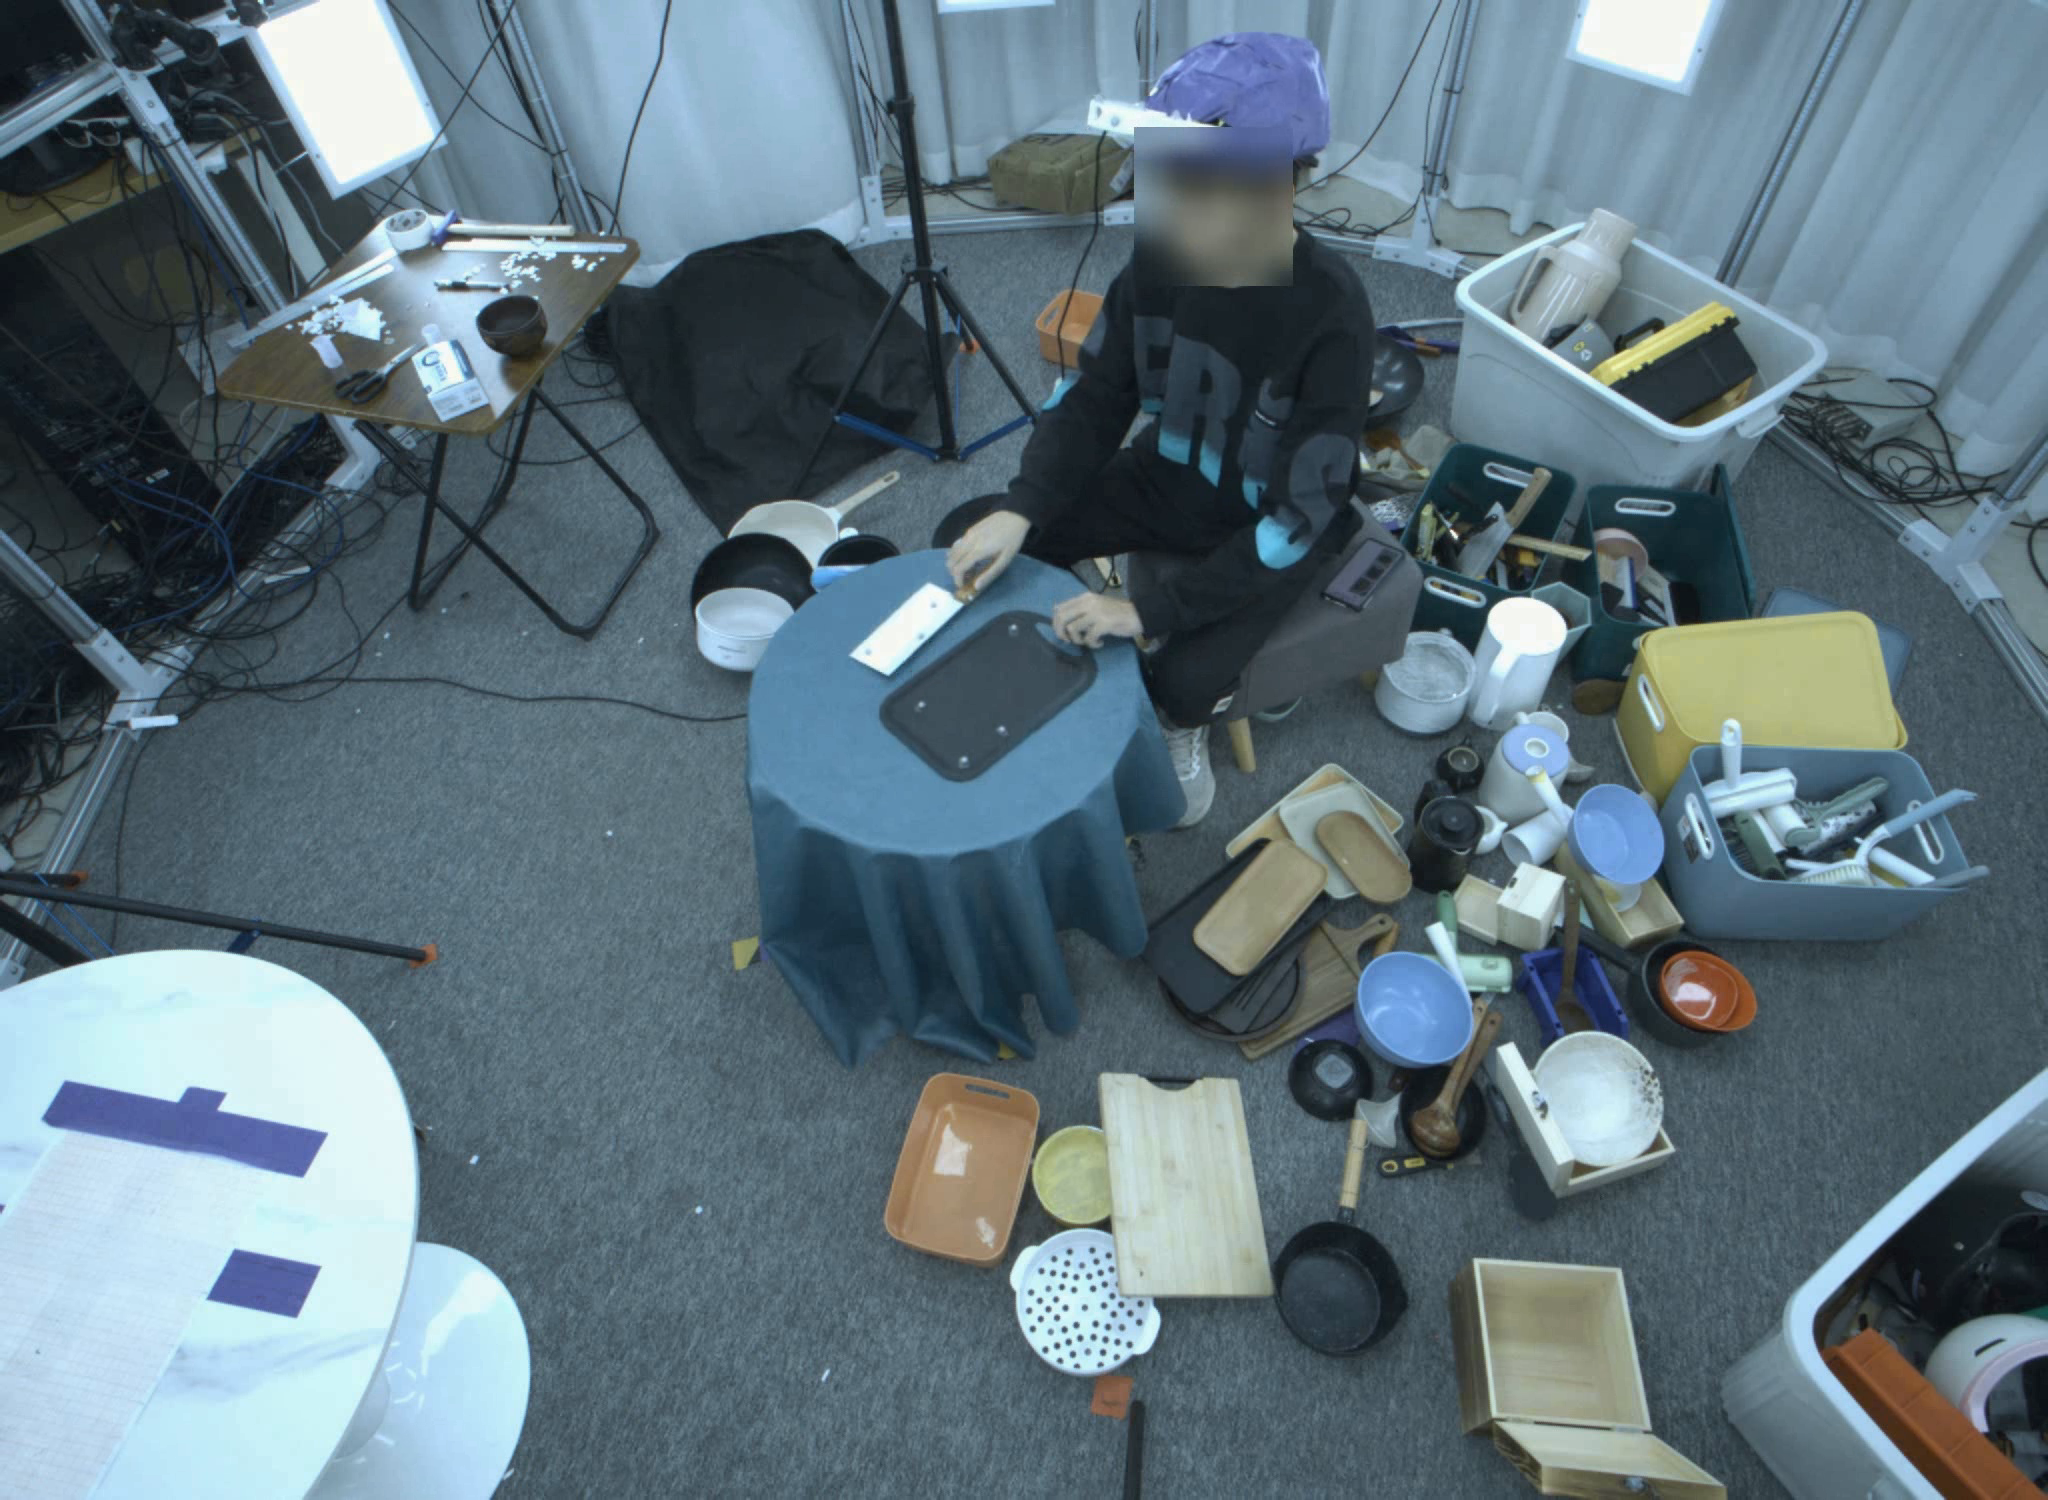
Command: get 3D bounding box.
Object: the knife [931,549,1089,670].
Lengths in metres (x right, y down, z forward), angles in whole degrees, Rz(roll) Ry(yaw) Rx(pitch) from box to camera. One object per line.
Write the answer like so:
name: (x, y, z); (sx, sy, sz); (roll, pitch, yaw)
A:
knife: (-0.025, -0.234, 1.943); (0.091, 0.021, 0.307); (34, 63, 29)

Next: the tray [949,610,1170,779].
tray: (0.059, -0.095, 1.847); (0.328, 0.010, 0.207); (-34, 60, -20)
